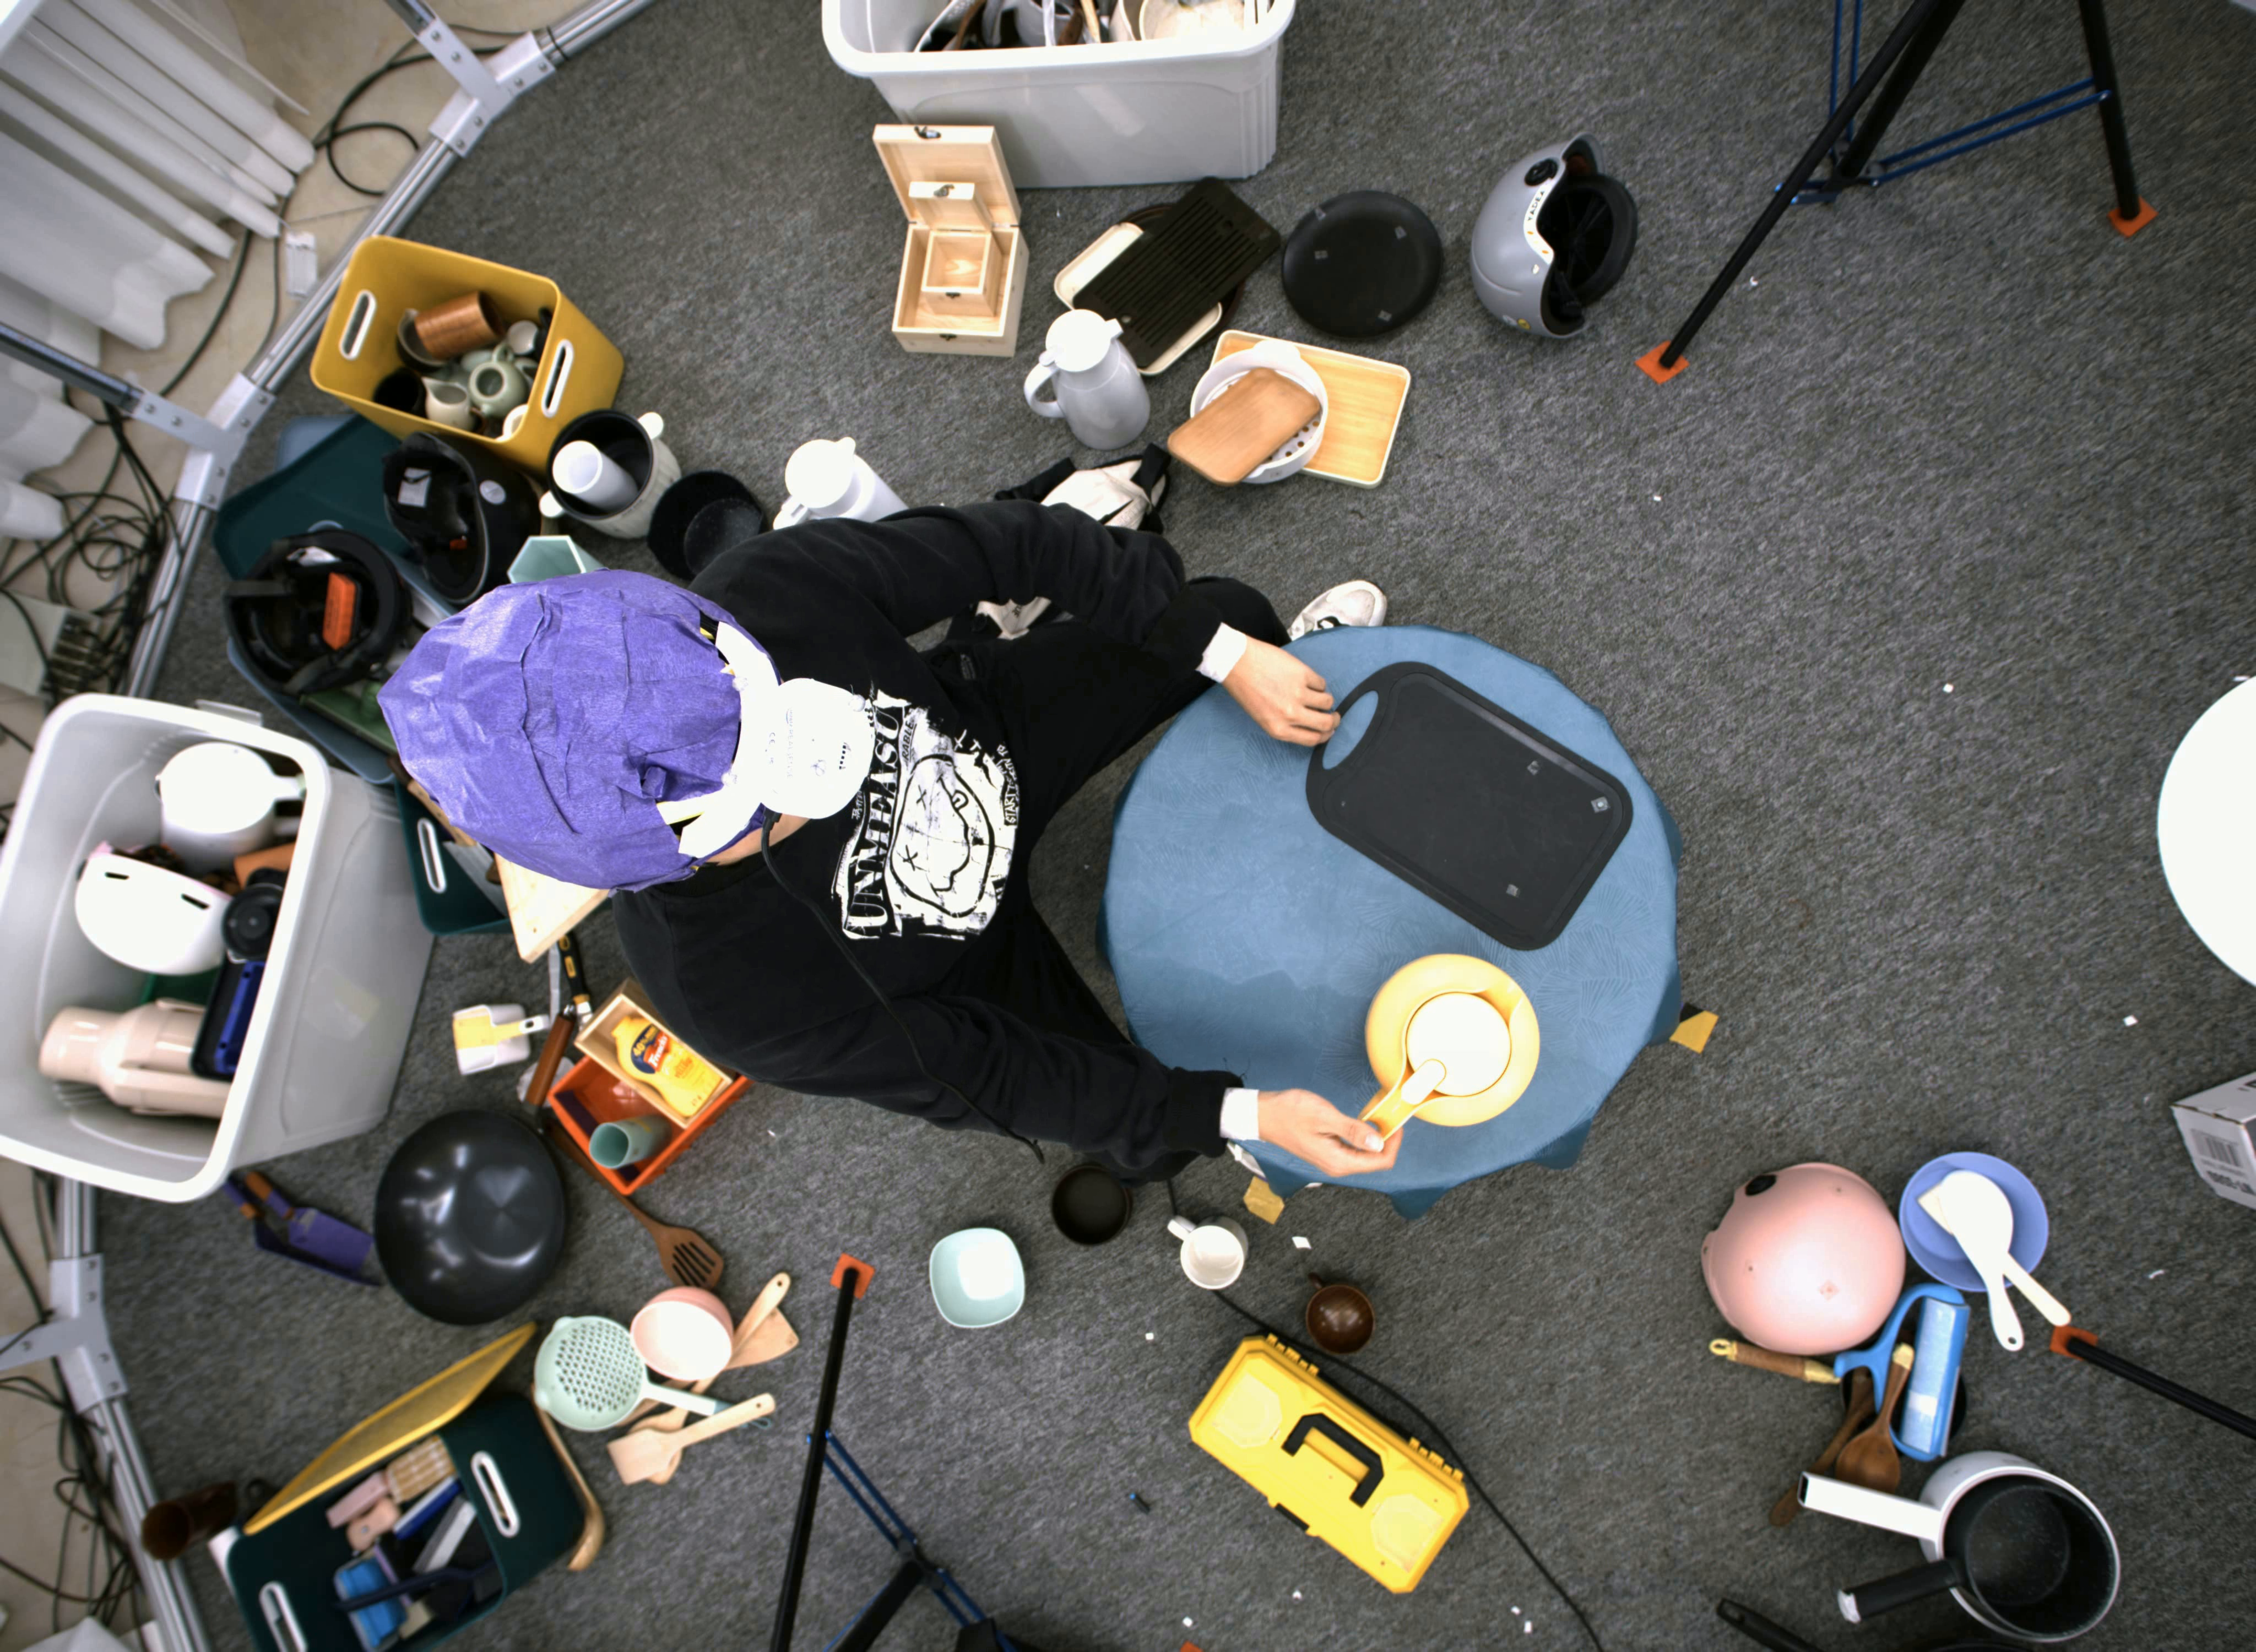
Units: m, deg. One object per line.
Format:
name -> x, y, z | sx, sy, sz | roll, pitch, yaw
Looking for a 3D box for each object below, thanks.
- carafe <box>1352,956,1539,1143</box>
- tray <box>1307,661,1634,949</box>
carafe -> 0.293, 0.215, 1.317 | 0.203, 0.261, 0.162 | -44, 77, 3
tray -> 0.350, -0.031, 1.447 | 0.324, 0.010, 0.211 | 34, 93, 11
